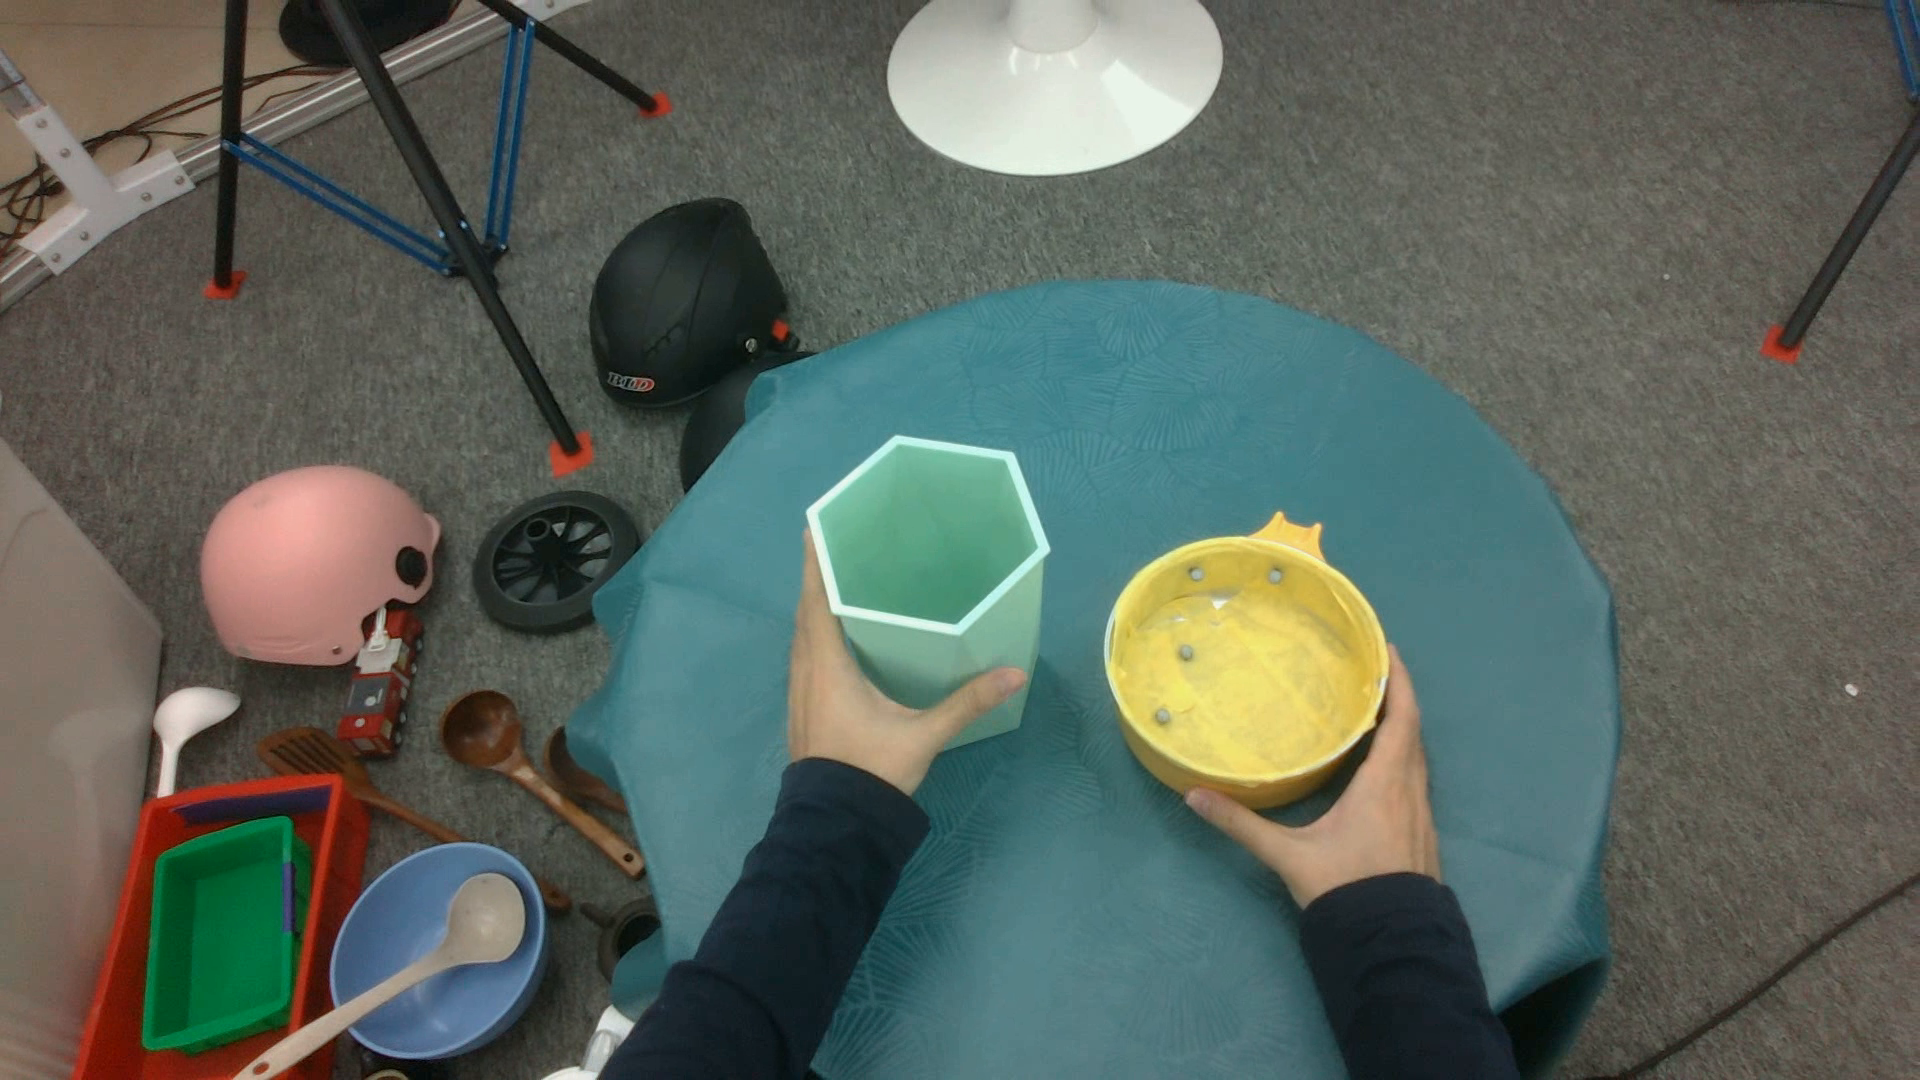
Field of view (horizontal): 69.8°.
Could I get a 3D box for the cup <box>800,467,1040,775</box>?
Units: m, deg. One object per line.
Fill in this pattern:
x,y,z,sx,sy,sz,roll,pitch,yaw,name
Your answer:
-0.012,0.052,0.783,0.131,0.162,0.115,5,58,12,cup

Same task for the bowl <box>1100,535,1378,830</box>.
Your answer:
0.163,0.082,0.799,0.153,0.074,0.180,15,60,17,bowl
